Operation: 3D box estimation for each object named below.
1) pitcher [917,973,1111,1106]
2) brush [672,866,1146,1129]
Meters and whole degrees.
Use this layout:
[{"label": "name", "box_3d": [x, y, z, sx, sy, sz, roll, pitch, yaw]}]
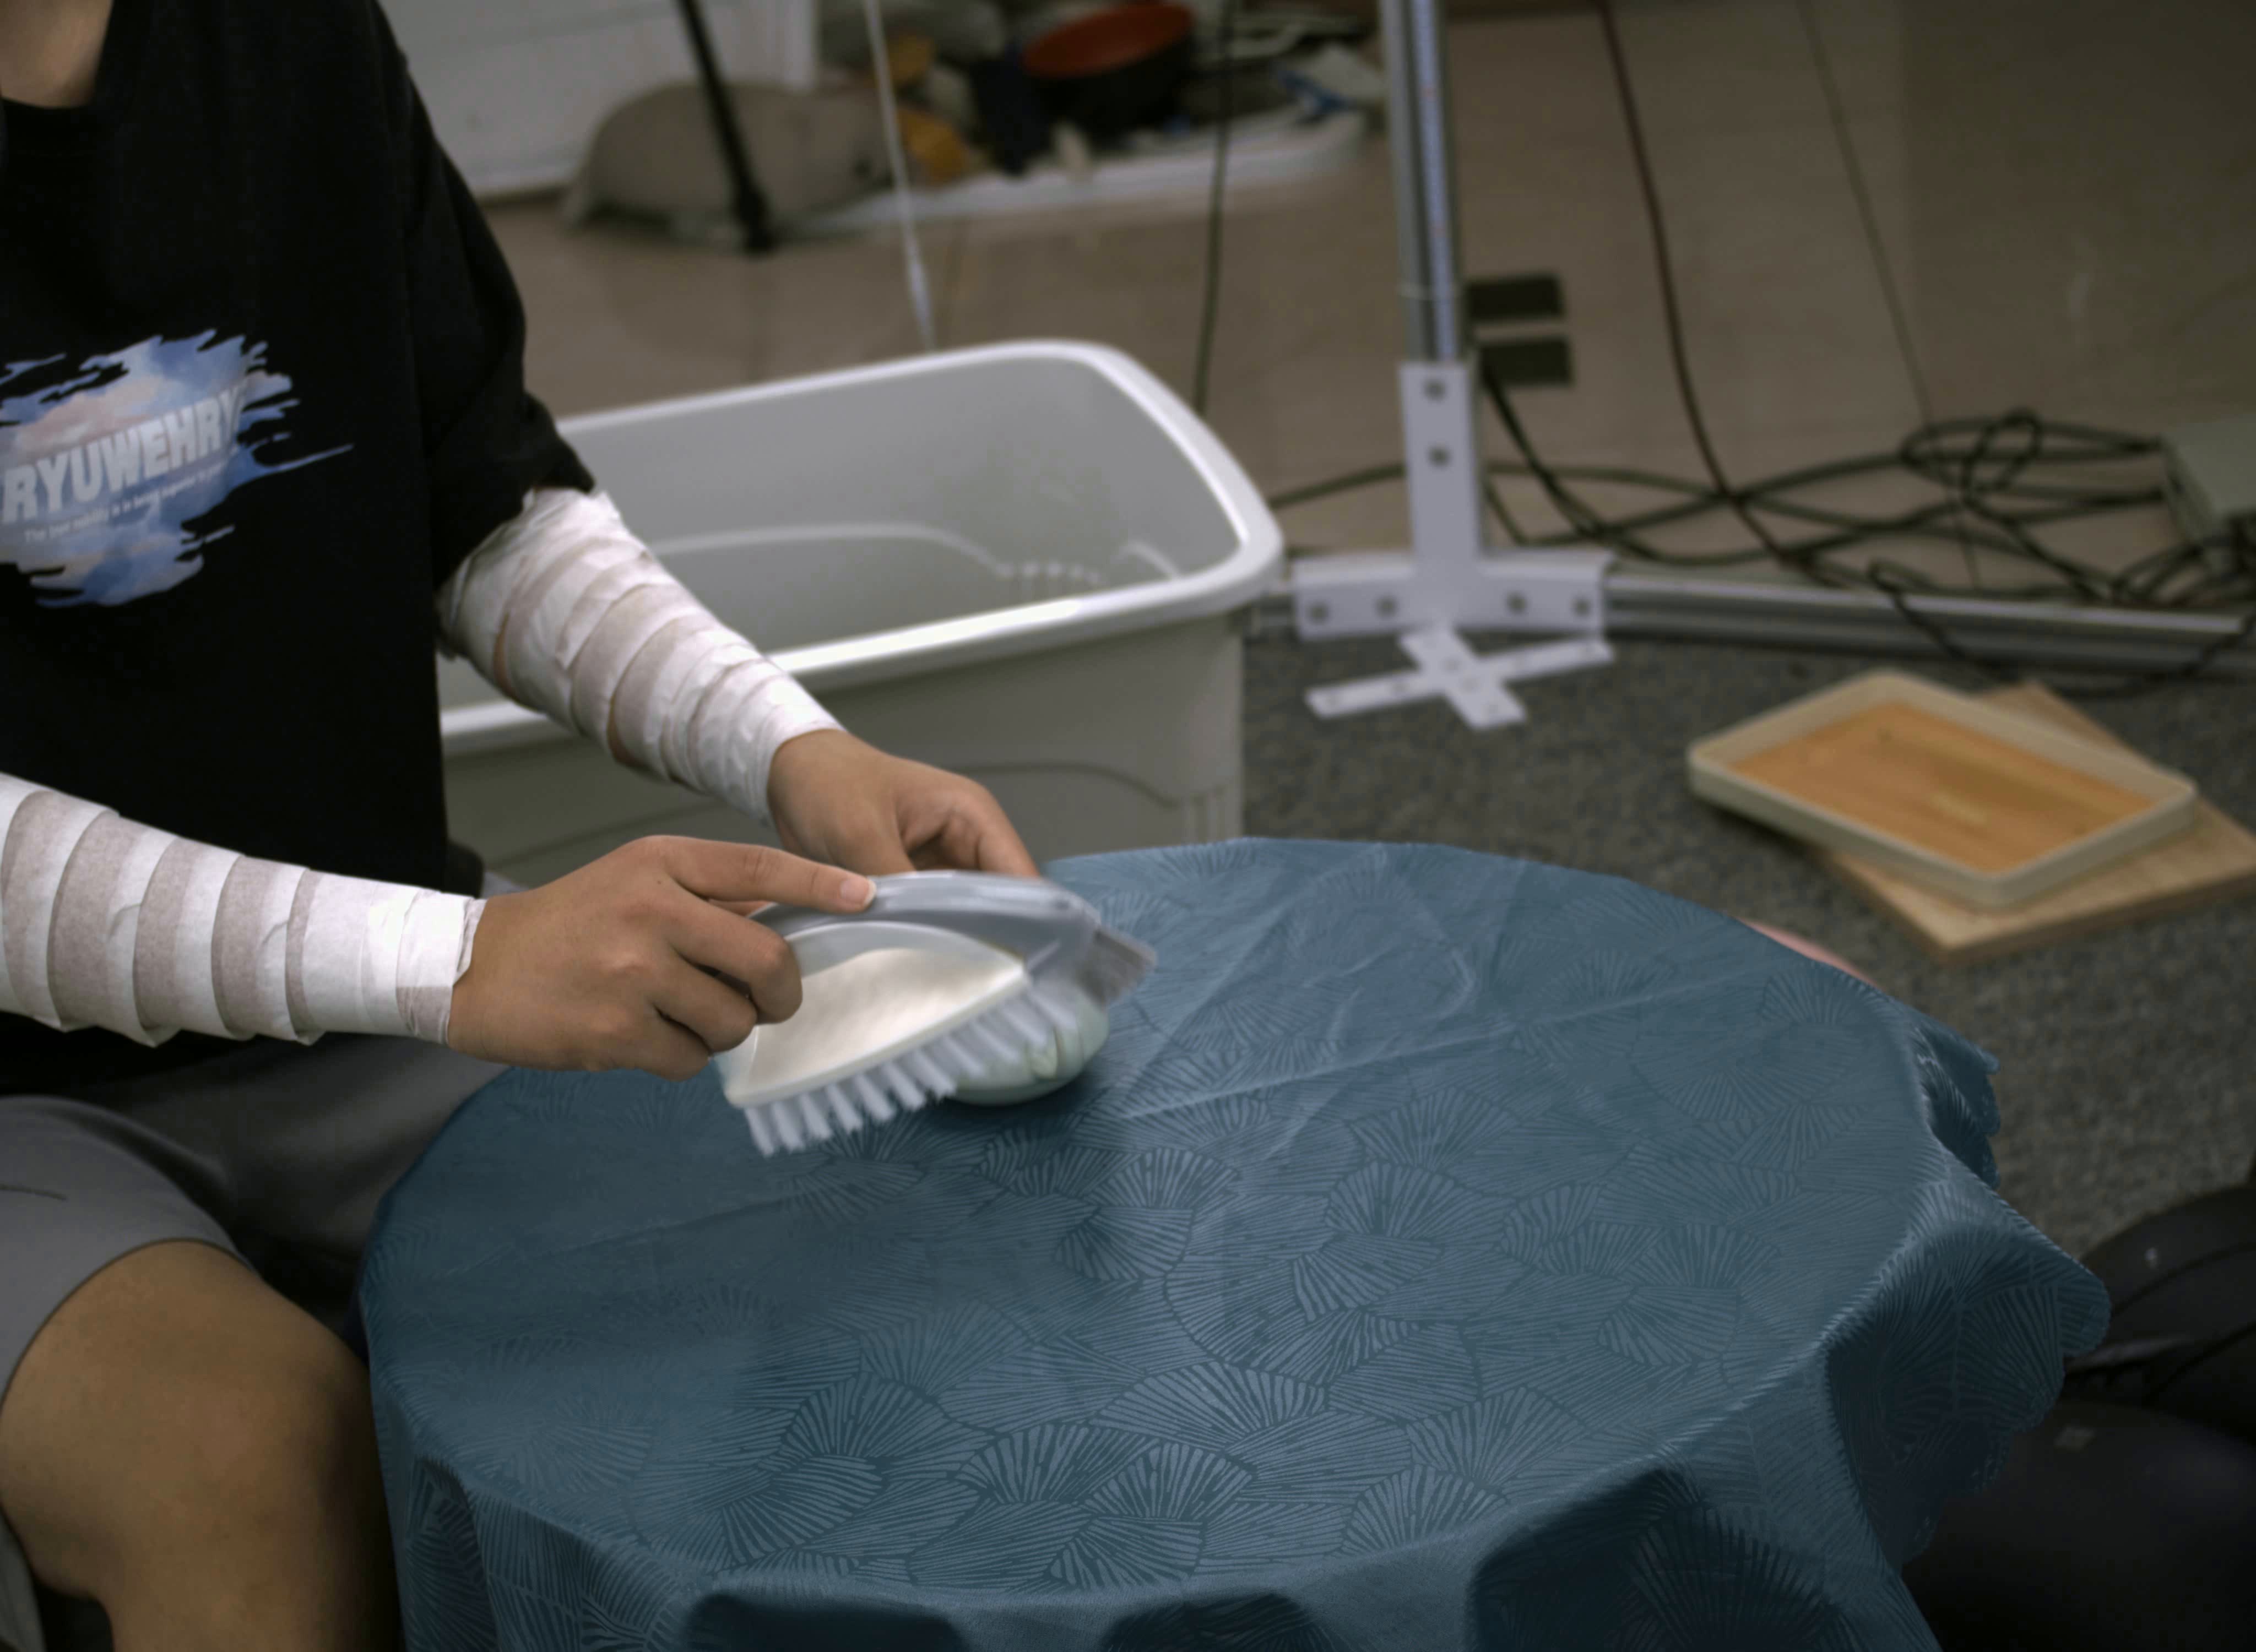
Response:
[{"label": "pitcher", "box_3d": [-0.044, 0.077, 2.224, 0.085, 0.061, 0.107, -20, 30, -25]}, {"label": "brush", "box_3d": [-0.089, 0.048, 2.095, 0.176, 0.095, 0.060, -20, 49, 23]}]
